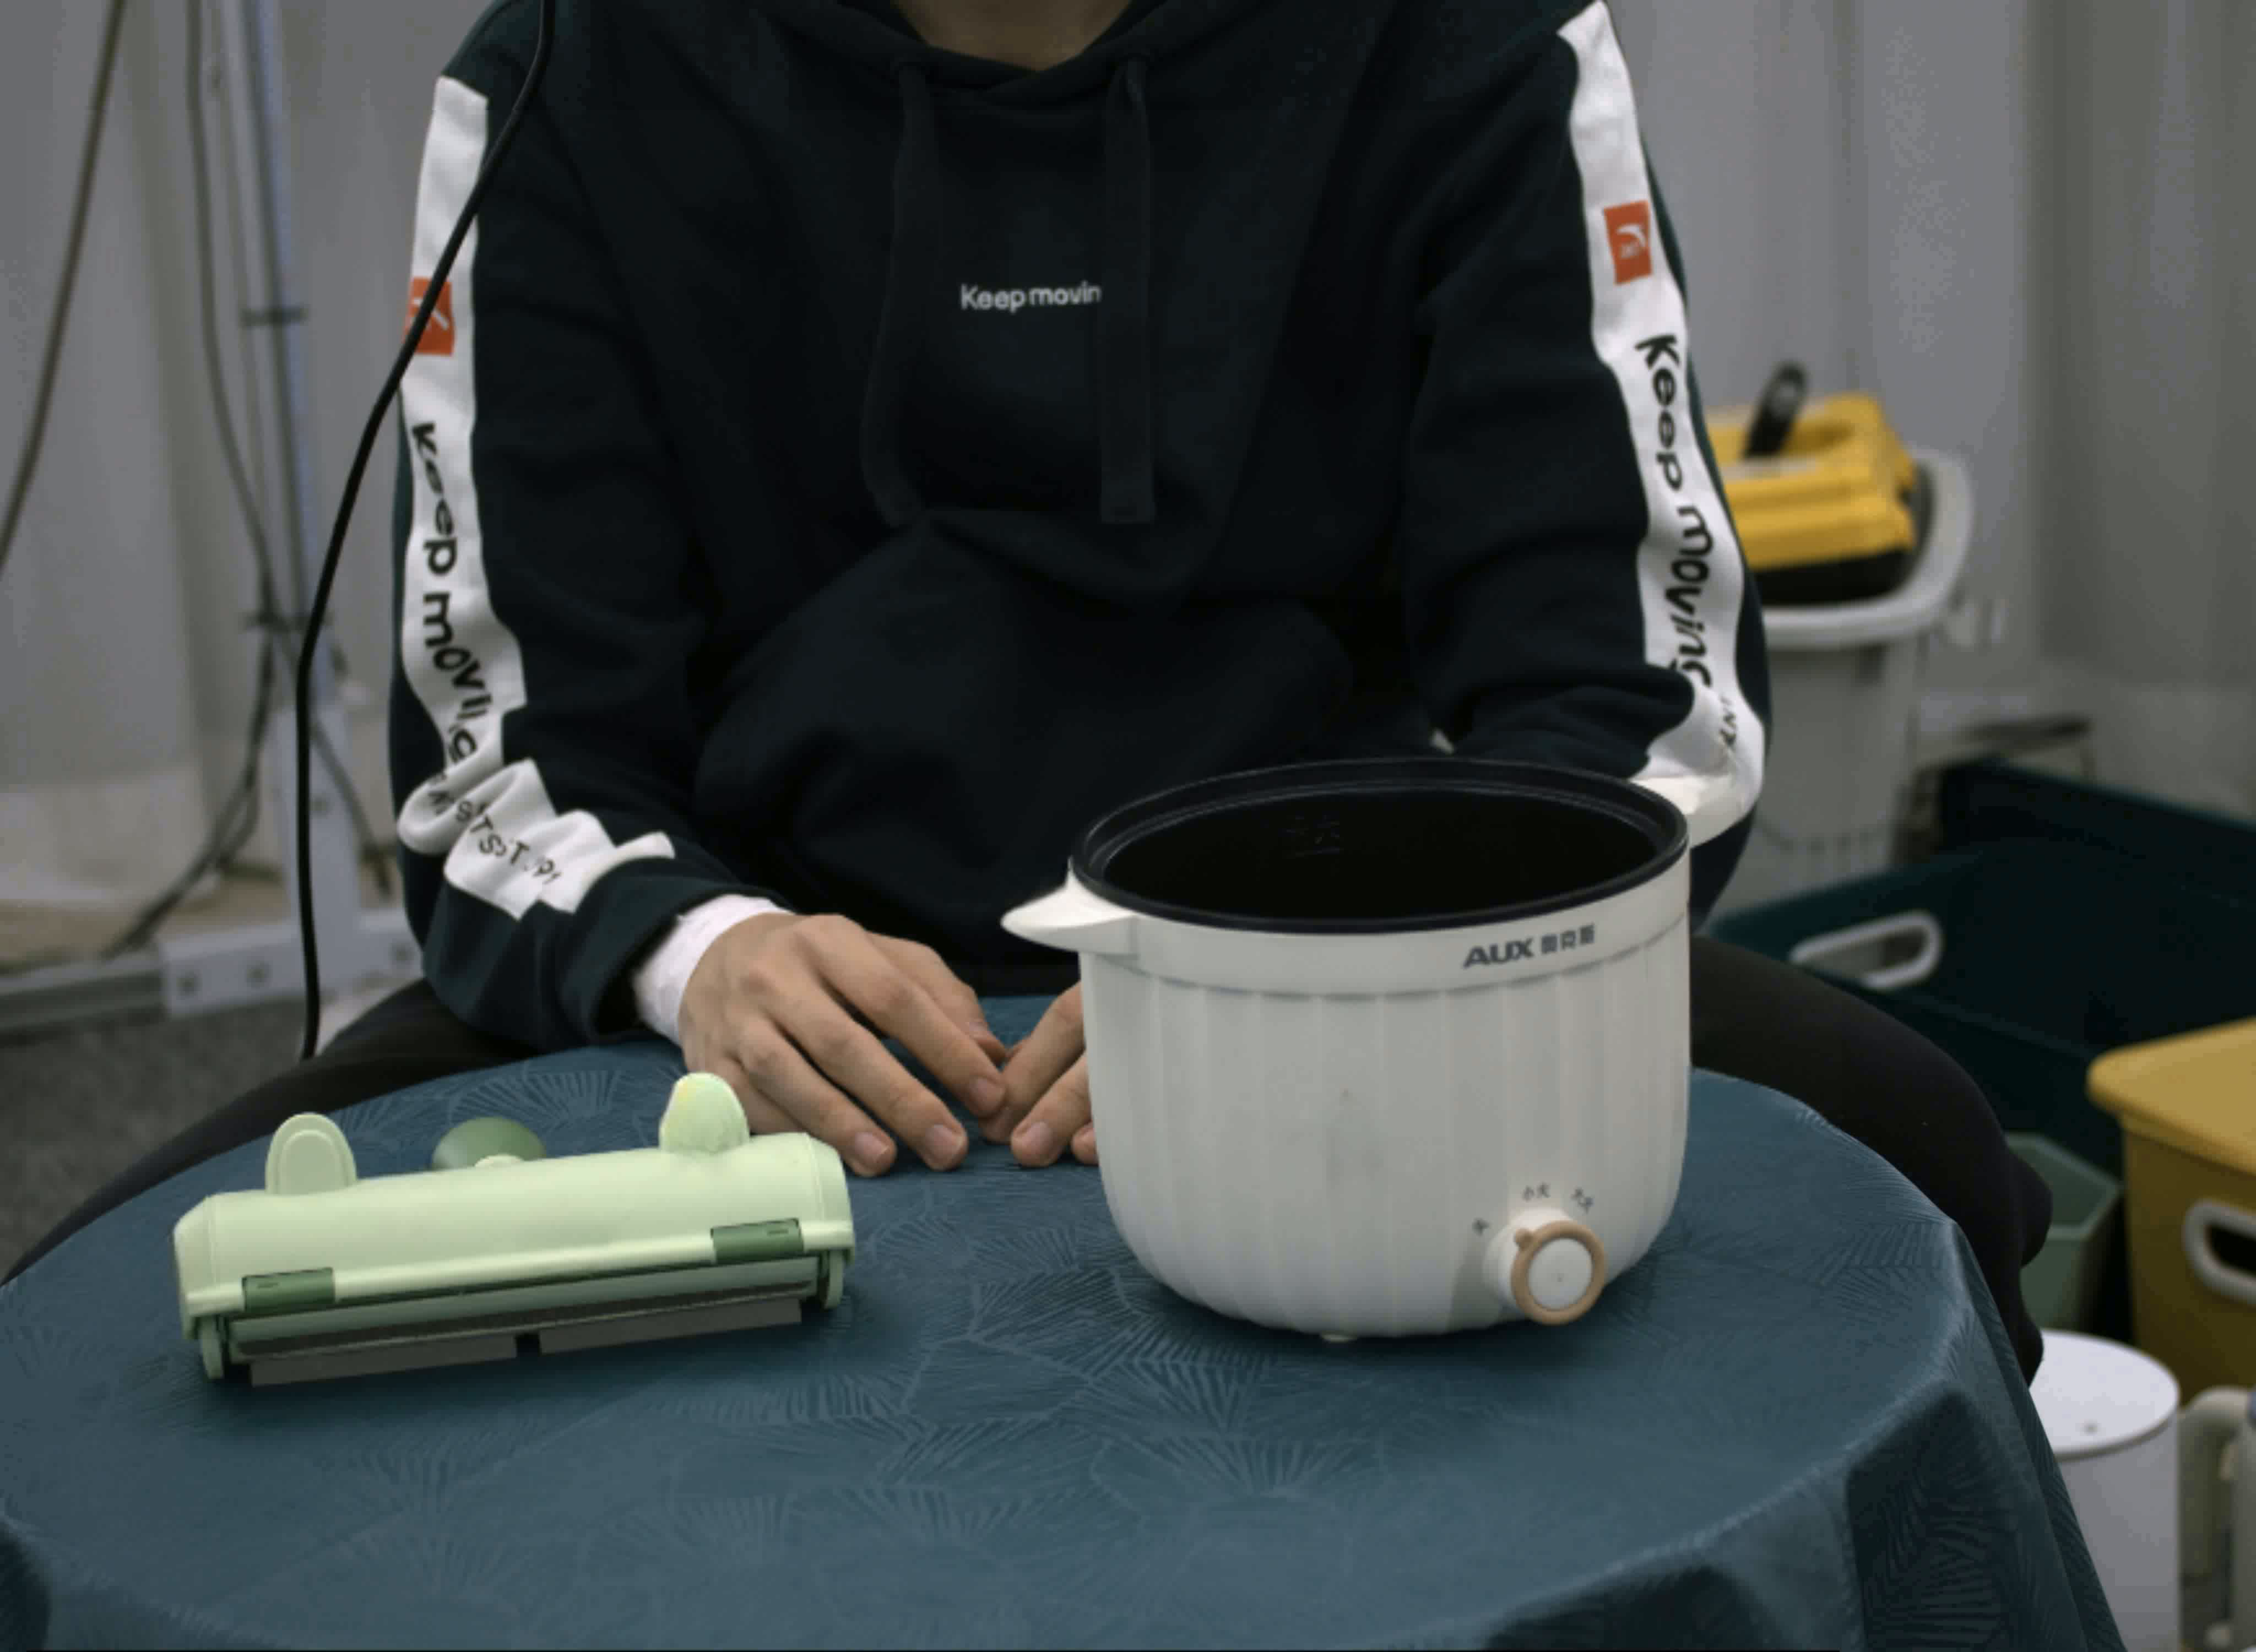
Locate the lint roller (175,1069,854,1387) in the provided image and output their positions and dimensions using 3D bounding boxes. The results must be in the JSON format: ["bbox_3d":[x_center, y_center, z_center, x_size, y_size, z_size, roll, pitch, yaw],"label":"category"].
[{"bbox_3d":[-0.191,0.102,1.657,0.198,0.081,0.185,-6,20,-9],"label":"lint roller"}]

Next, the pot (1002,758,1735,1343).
[{"bbox_3d":[0.080,0.068,1.609,0.239,0.142,0.192,-11,13,-24],"label":"pot"}]
